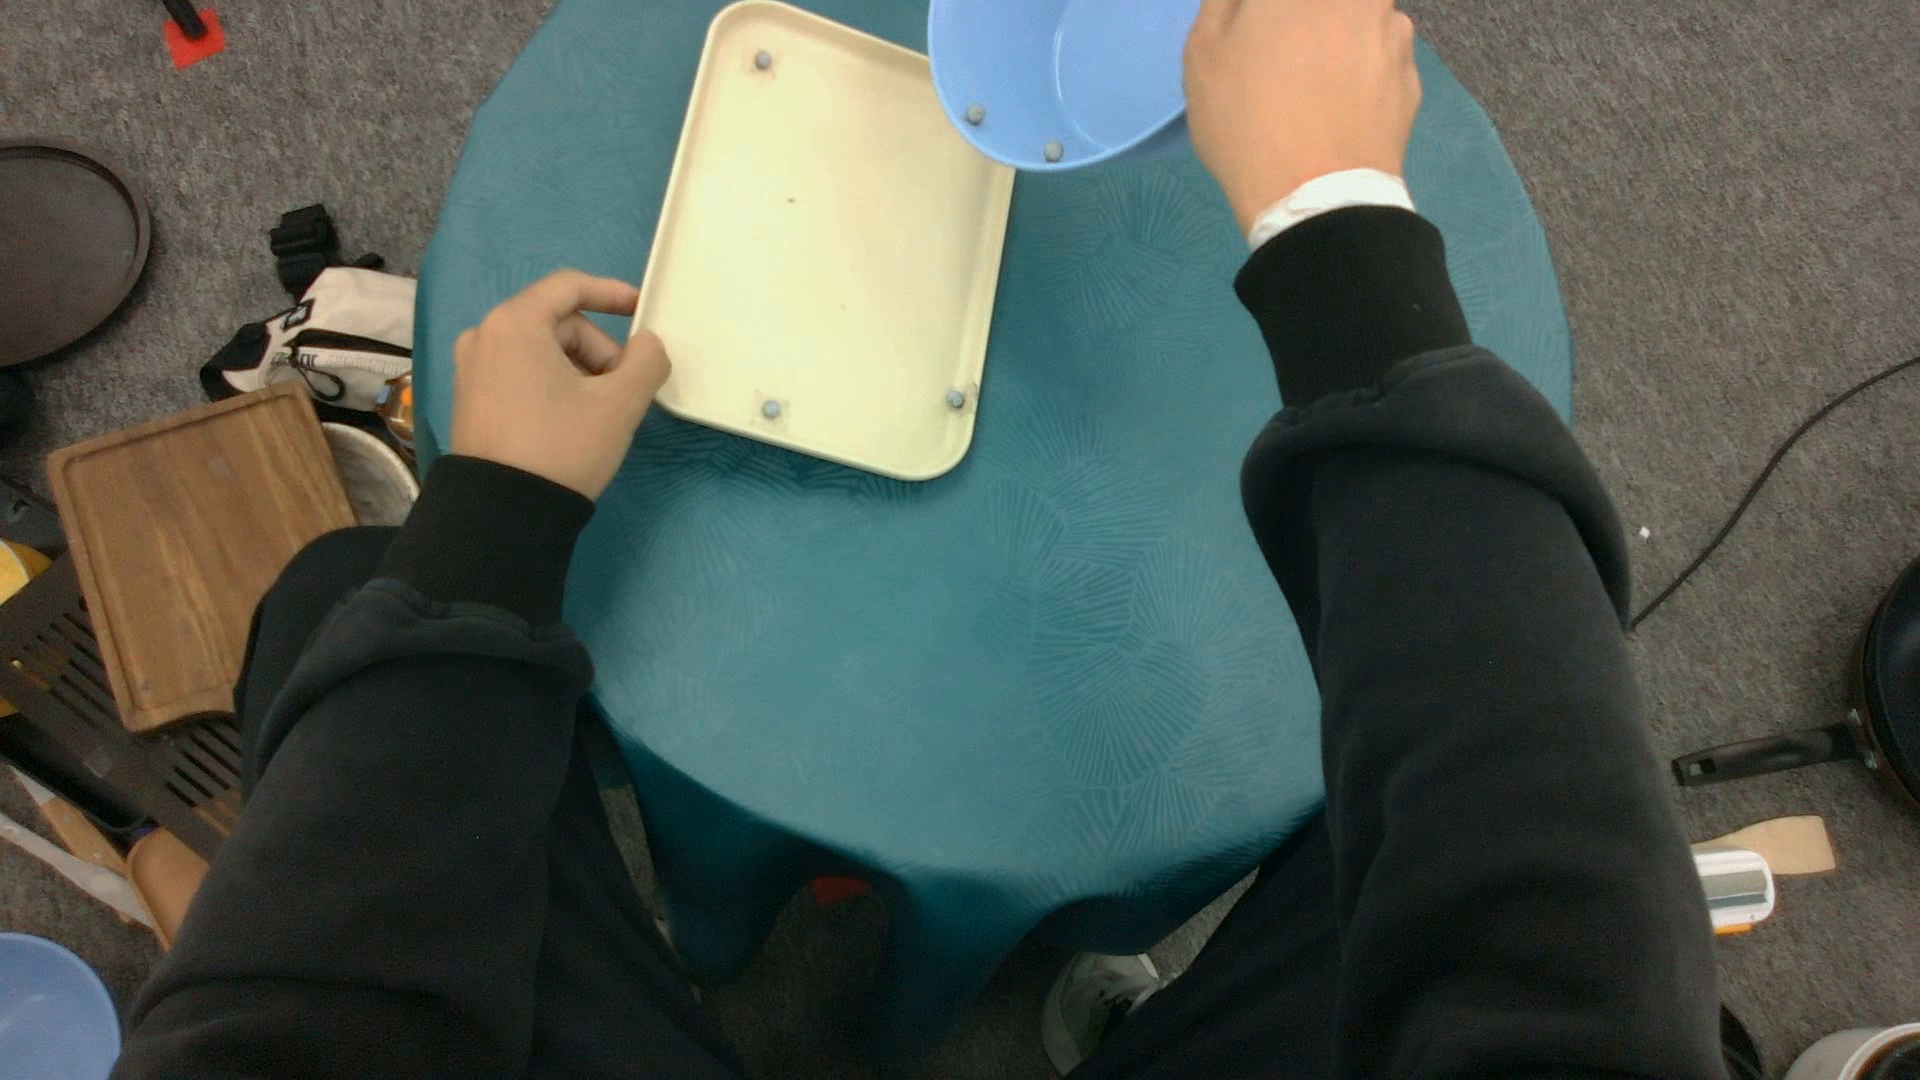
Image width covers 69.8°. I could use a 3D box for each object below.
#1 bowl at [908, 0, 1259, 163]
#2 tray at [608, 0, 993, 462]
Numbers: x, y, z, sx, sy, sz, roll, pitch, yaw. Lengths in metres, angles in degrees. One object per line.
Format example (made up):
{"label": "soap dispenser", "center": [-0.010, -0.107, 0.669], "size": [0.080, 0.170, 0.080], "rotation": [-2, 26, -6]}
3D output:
{"label": "bowl", "center": [0.063, -0.240, 0.597], "size": [0.070, 0.175, 0.176], "rotation": [10, 62, -49]}
{"label": "tray", "center": [-0.073, -0.160, 0.692], "size": [0.171, 0.017, 0.240], "rotation": [15, 69, -15]}
